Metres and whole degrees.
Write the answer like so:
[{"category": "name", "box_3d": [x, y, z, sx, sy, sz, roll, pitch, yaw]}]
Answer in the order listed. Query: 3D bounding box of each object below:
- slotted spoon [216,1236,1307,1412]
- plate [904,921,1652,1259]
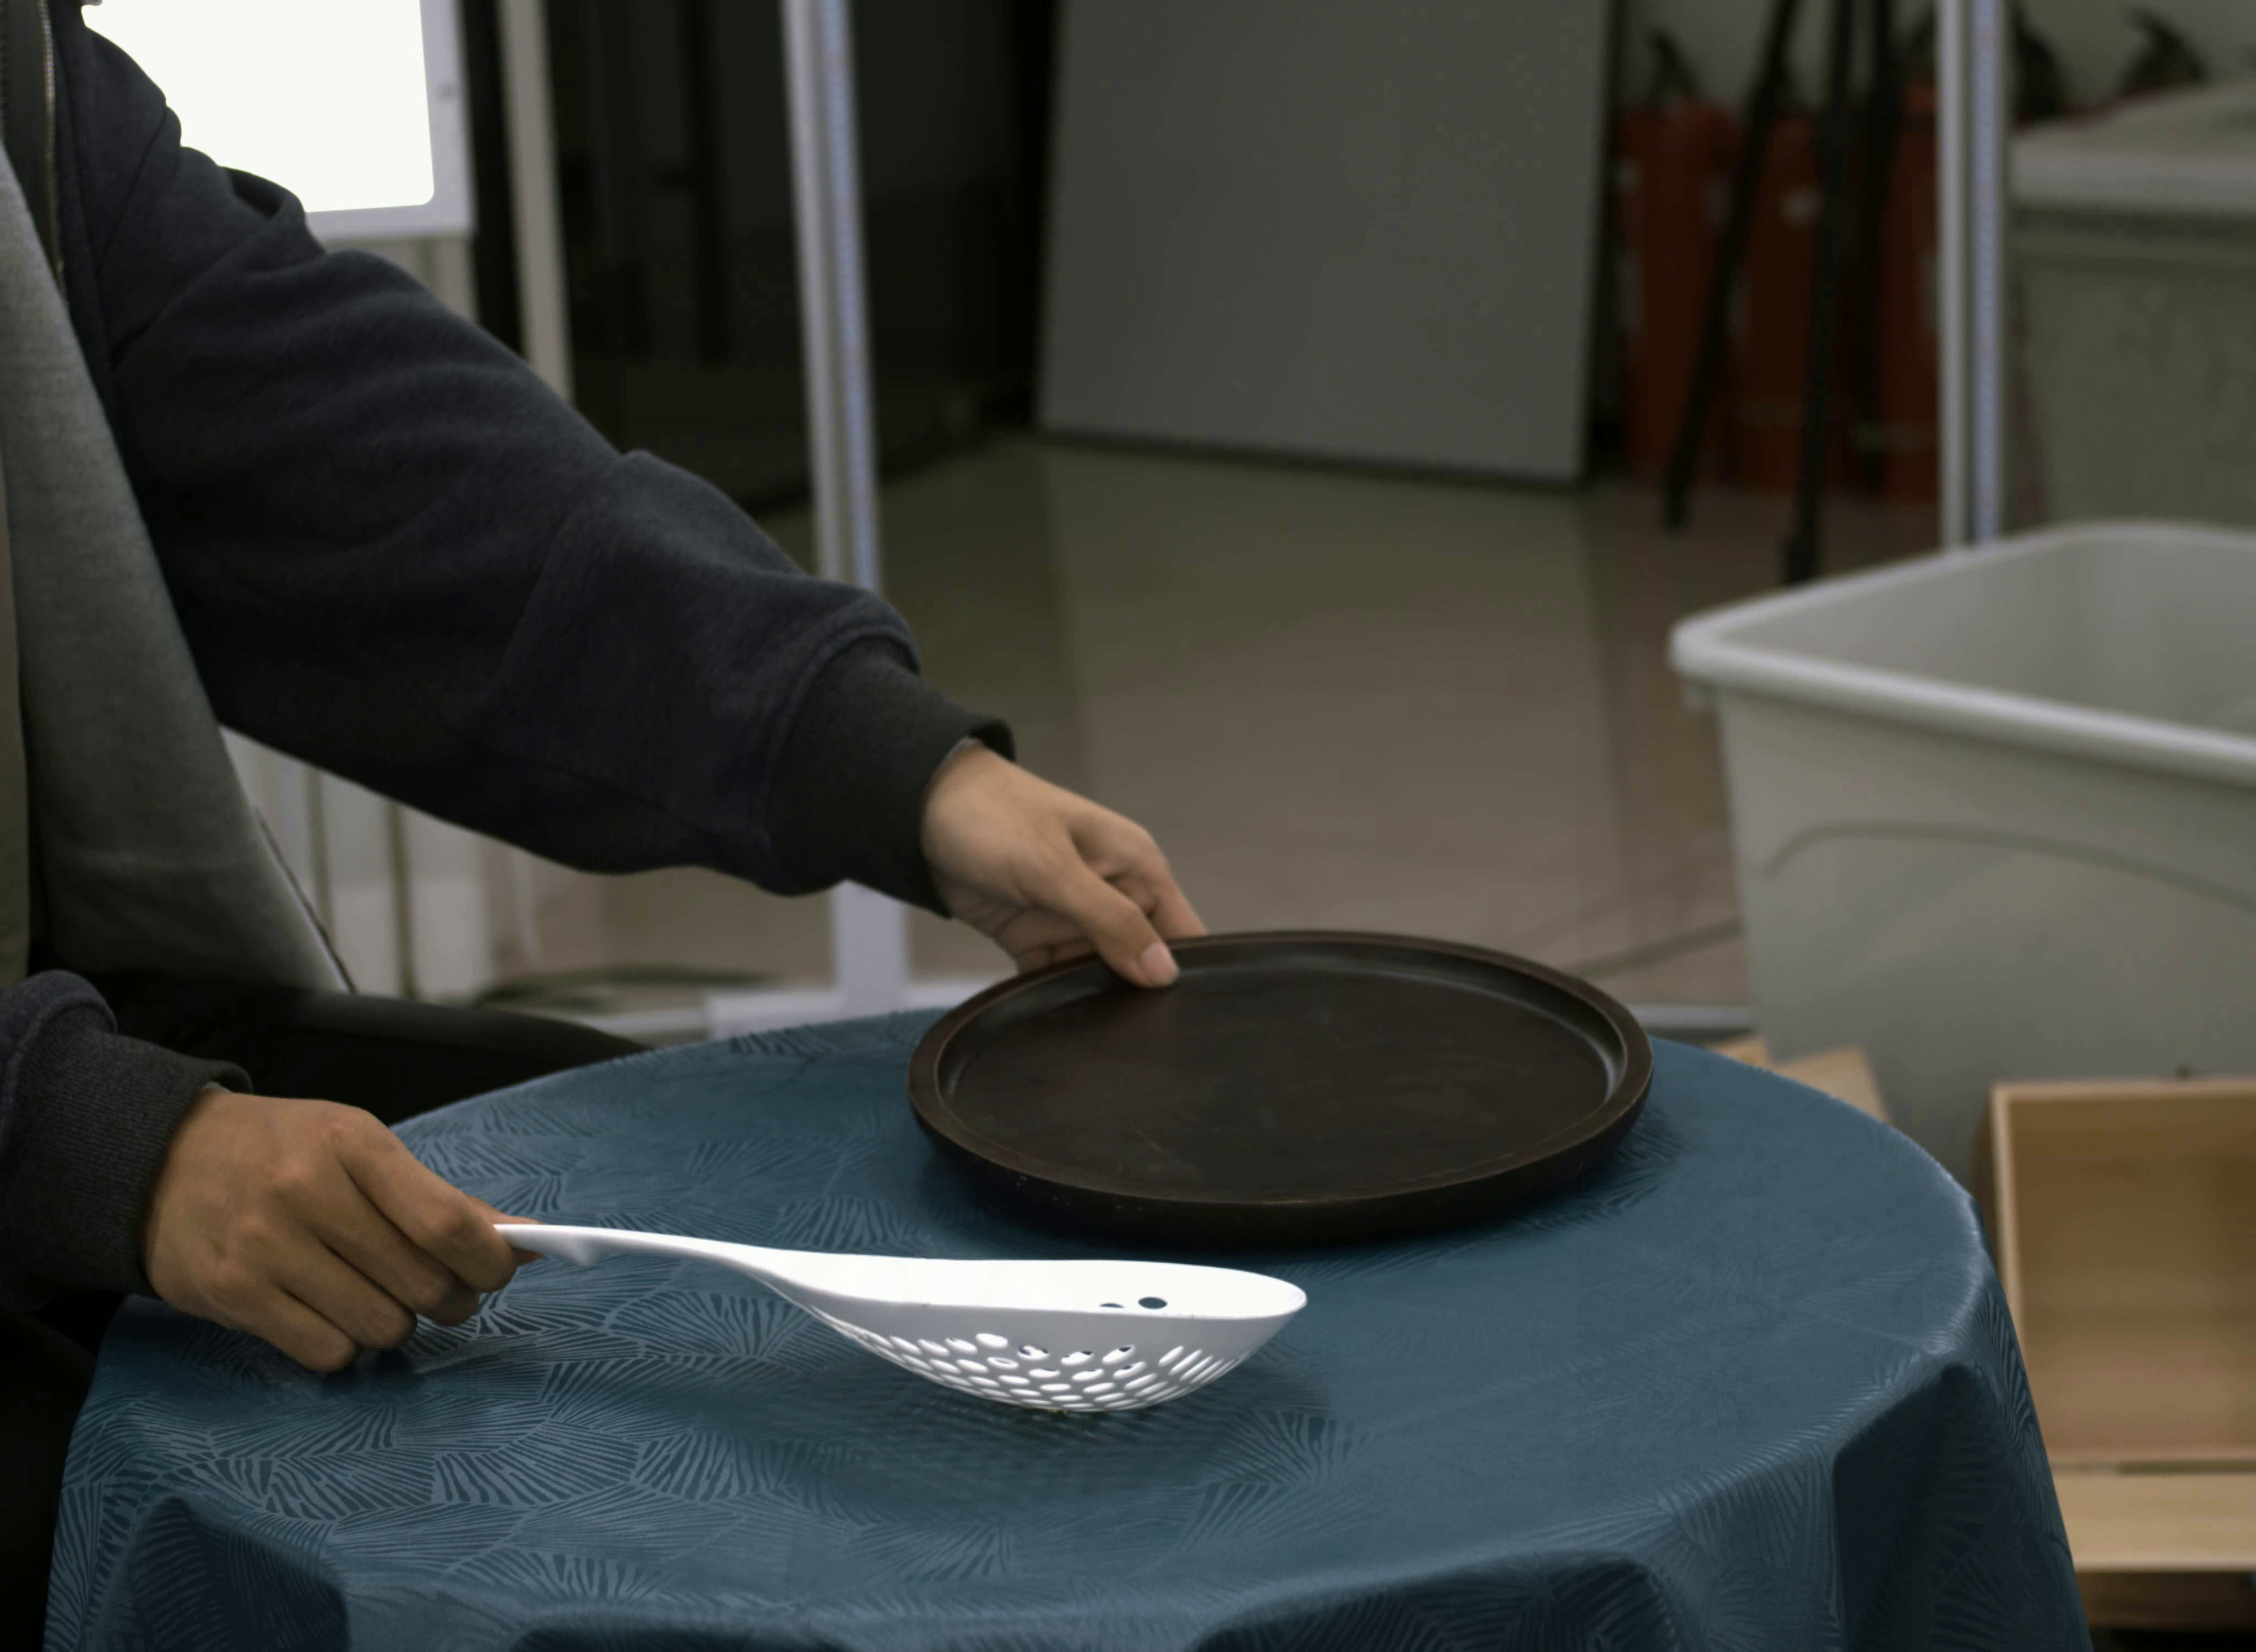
[{"category": "slotted spoon", "box_3d": [-0.115, 0.138, 1.606, 0.348, 0.051, 0.135, 6, 4, 23]}, {"category": "plate", "box_3d": [0.050, 0.089, 1.803, 0.251, 0.029, 0.255, -4, 19, 0]}]
